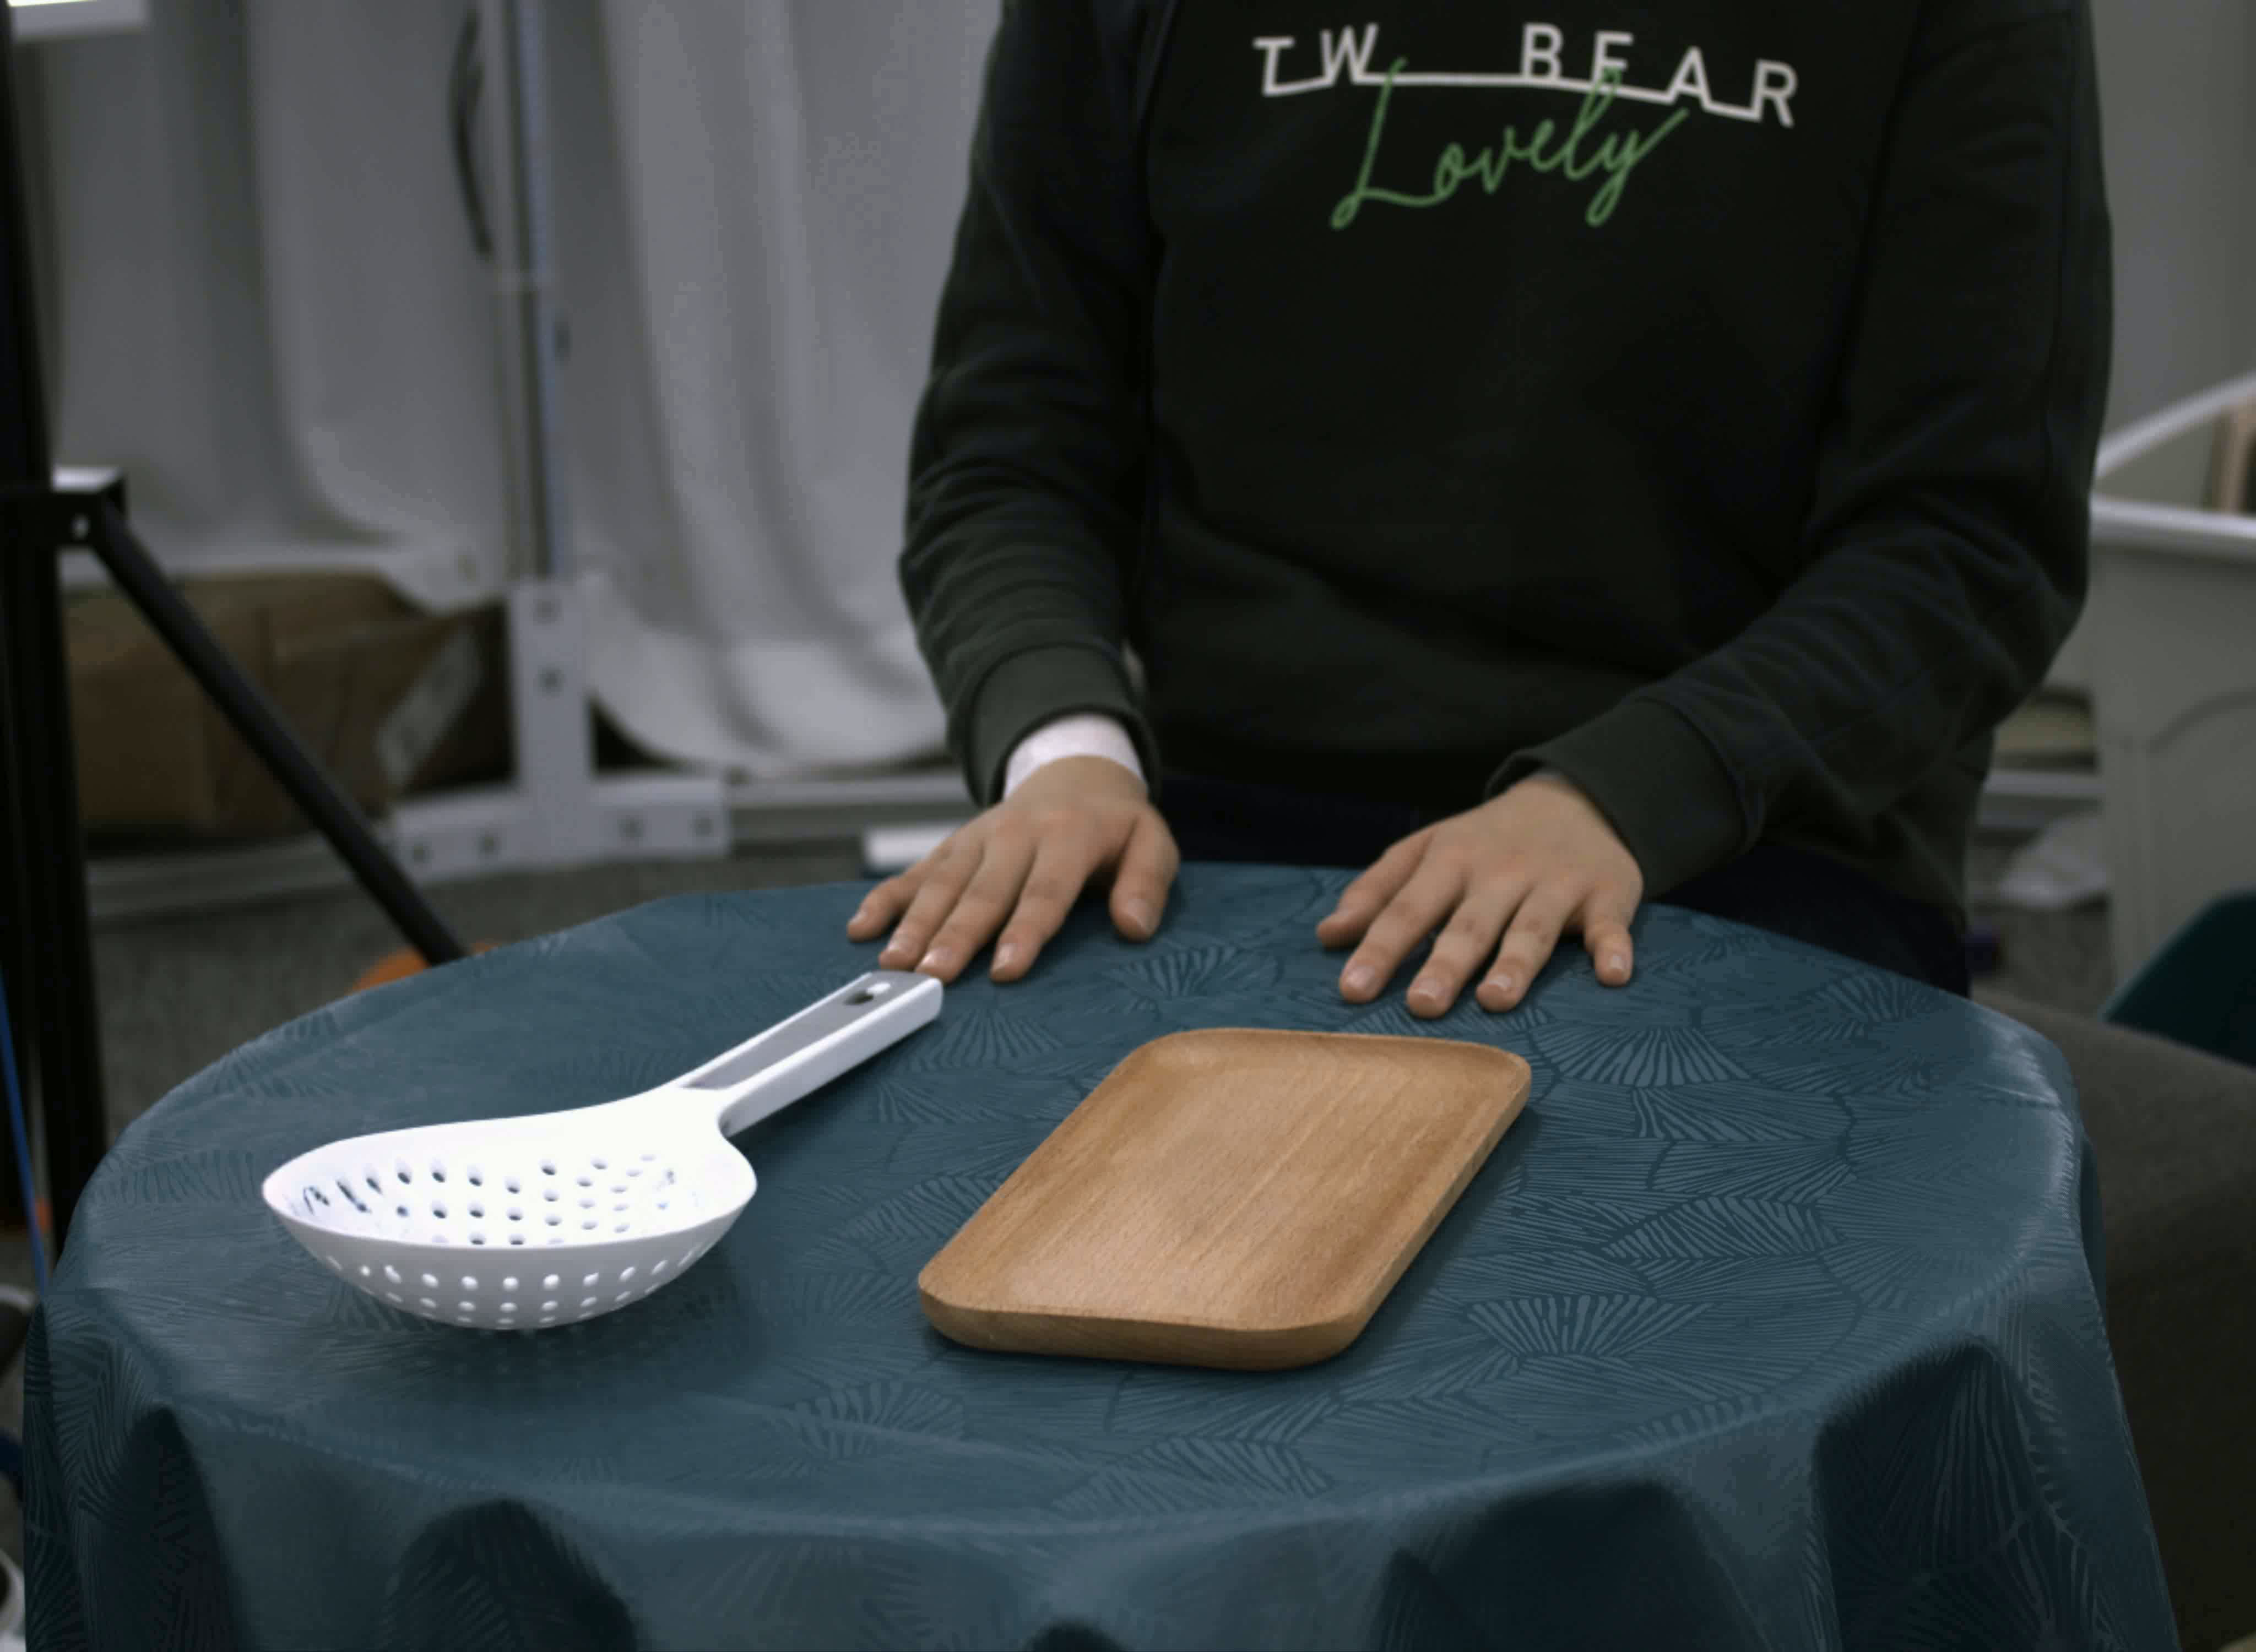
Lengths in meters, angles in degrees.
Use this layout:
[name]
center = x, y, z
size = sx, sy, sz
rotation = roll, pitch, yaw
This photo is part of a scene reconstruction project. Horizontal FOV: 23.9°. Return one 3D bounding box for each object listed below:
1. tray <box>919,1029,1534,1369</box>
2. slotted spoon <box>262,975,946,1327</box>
[tray]
center = 0.033, 0.105, 1.533
size = 0.132, 0.023, 0.248
rotation = 4, 16, 18
[slotted spoon]
center = -0.133, 0.086, 1.574
size = 0.138, 0.046, 0.345
rotation = 6, 17, 21
